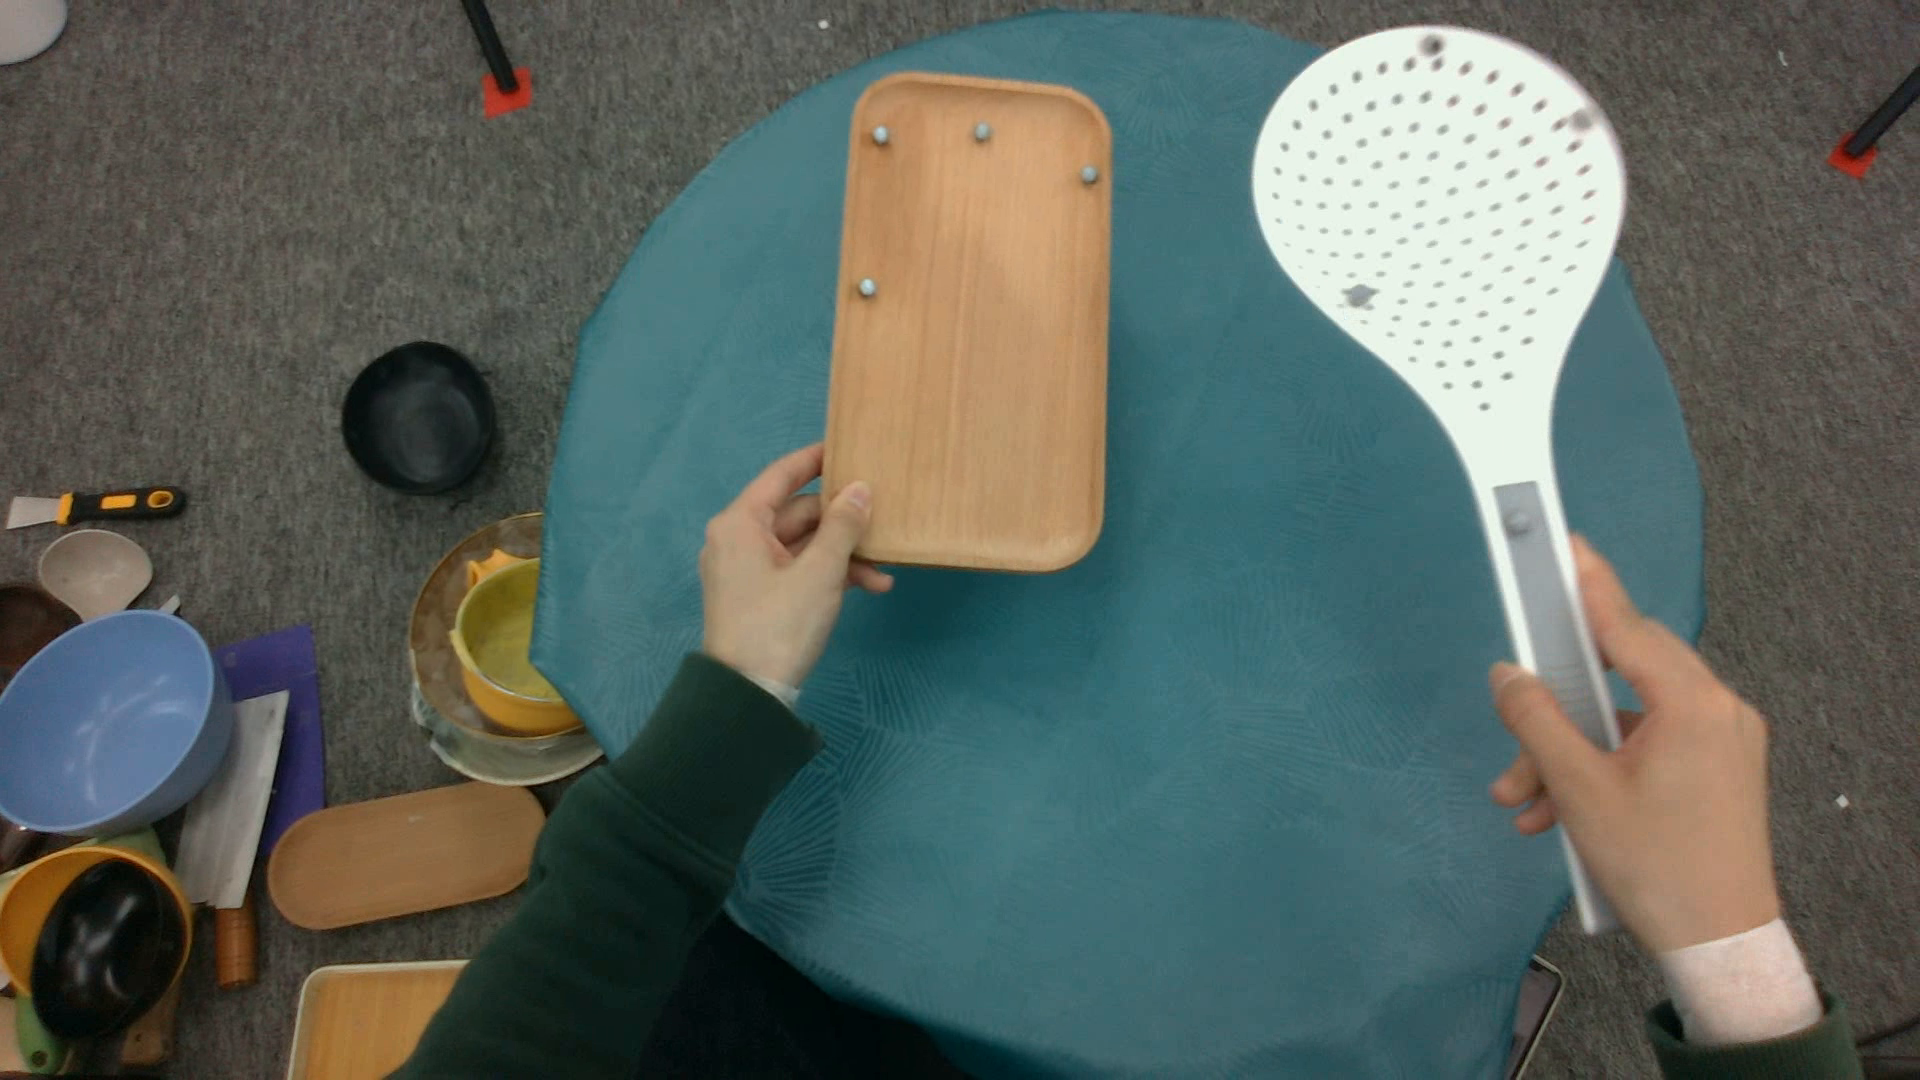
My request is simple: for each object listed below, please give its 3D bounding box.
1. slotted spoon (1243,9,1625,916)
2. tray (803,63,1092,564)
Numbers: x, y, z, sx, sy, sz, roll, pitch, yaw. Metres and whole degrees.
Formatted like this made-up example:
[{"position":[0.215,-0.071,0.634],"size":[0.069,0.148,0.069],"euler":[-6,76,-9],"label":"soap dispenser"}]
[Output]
[{"position":[0.193,-0.041,0.514],"size":[0.136,0.045,0.350],"euler":[-9,70,8],"label":"slotted spoon"},{"position":[-0.003,-0.110,0.644],"size":[0.130,0.023,0.251],"euler":[3,73,-3],"label":"tray"}]
